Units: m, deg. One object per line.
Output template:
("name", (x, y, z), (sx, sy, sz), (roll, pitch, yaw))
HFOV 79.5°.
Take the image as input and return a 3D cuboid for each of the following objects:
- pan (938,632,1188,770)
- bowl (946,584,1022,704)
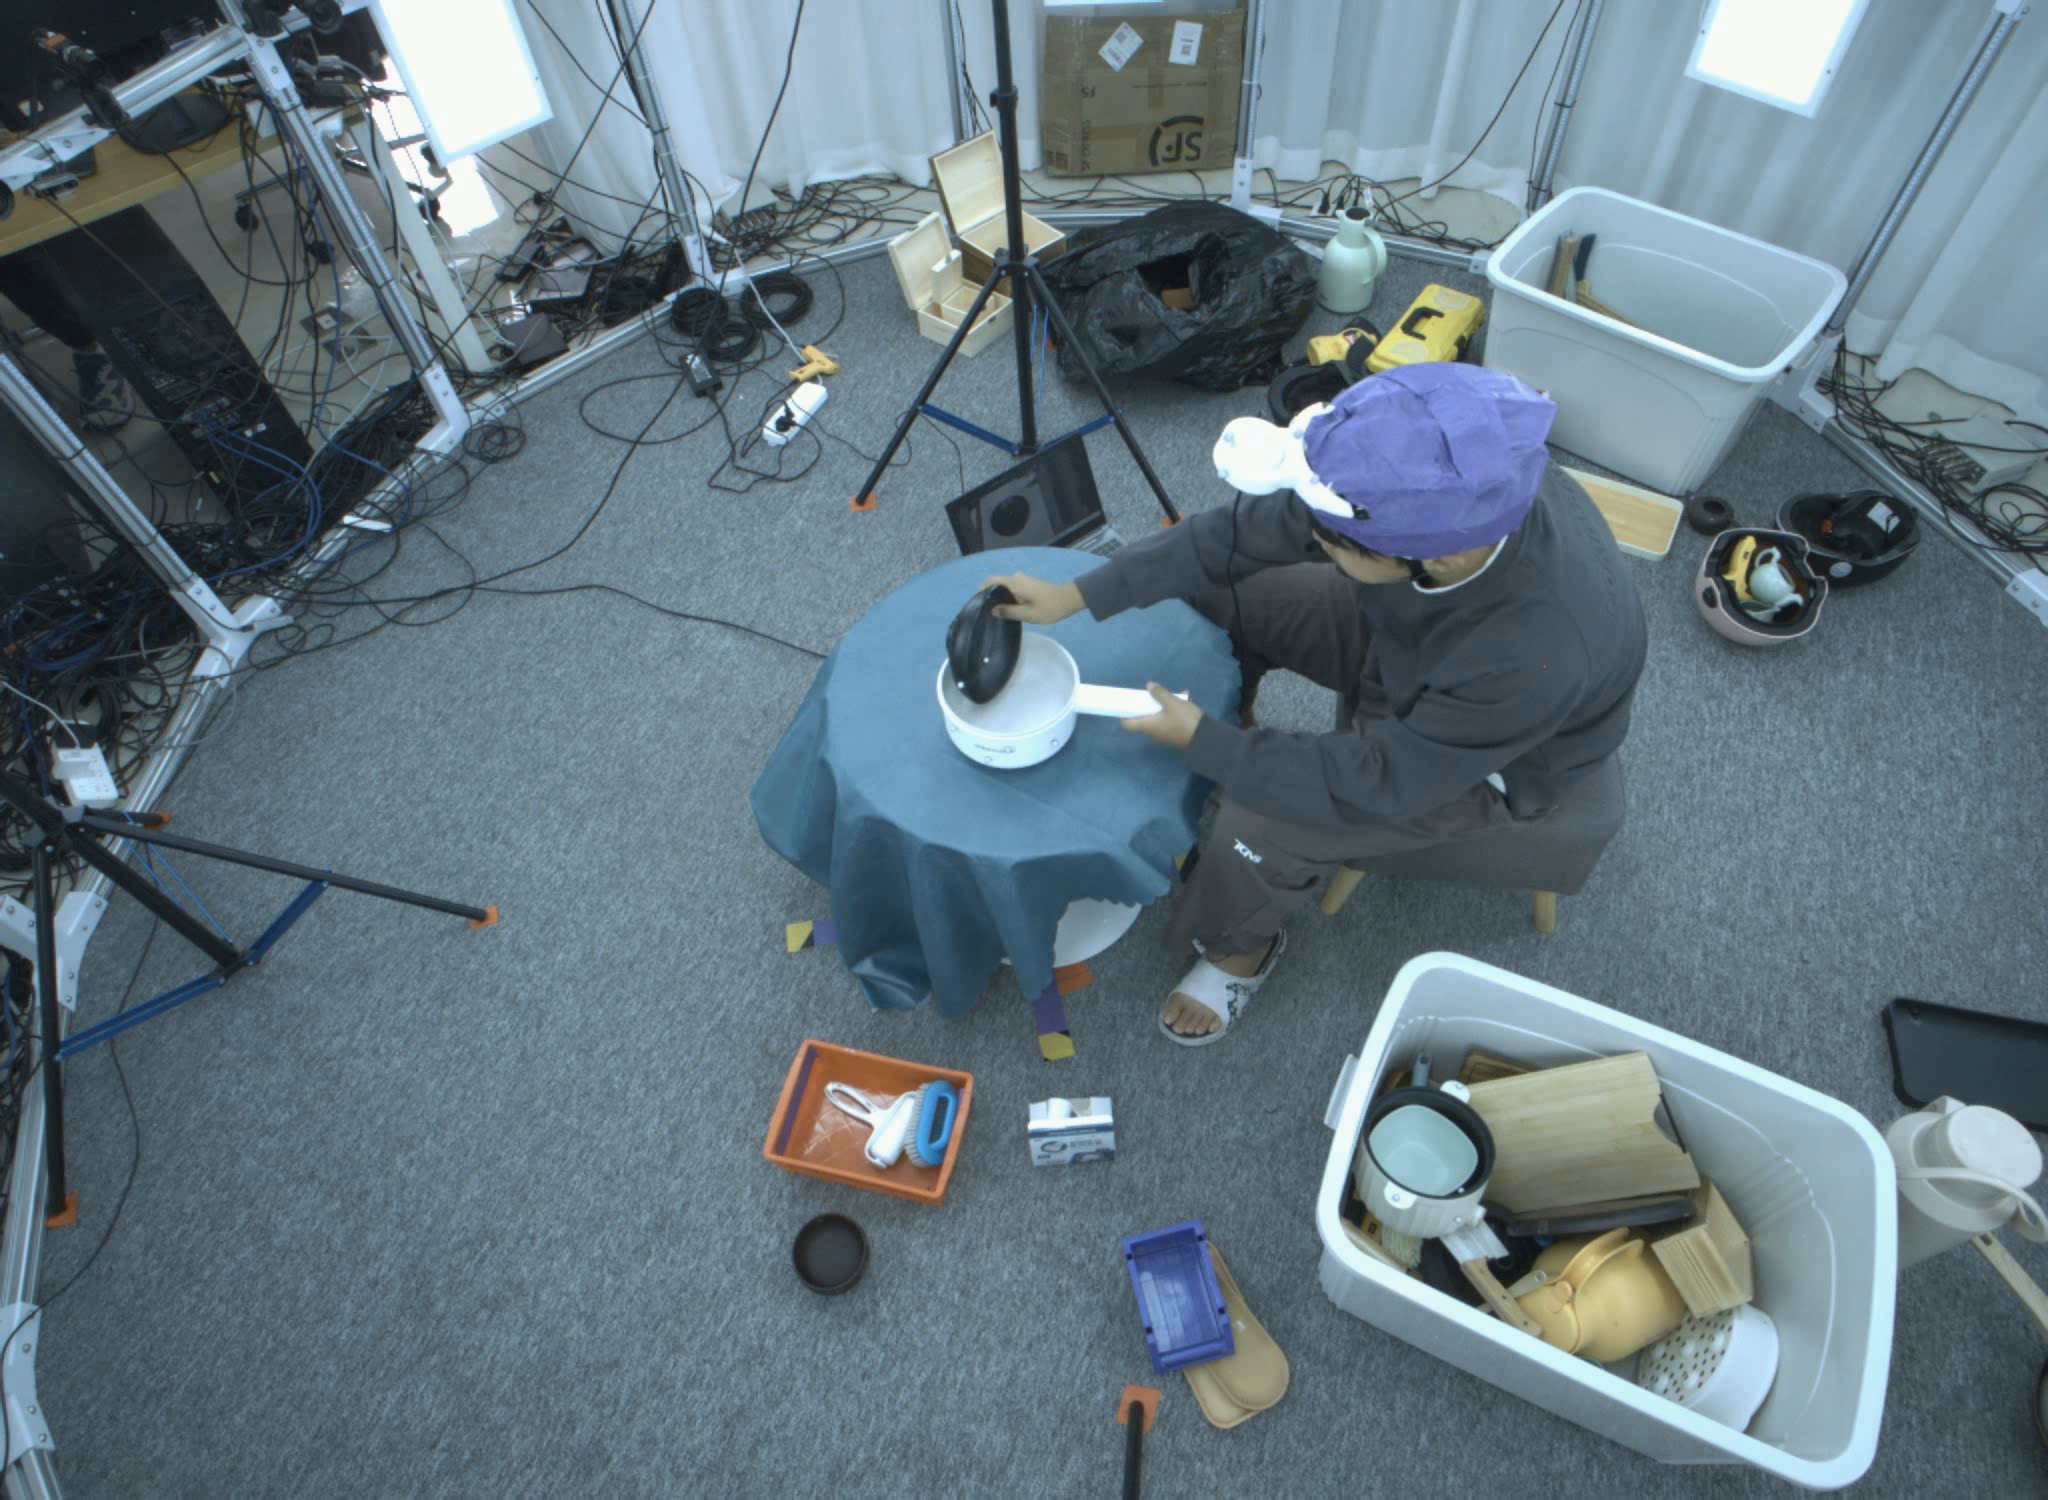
("pan", (0.054, -0.056, 1.772), (0.354, 0.103, 0.200), (8, 54, 4))
("bowl", (-0.067, -0.153, 1.723), (0.065, 0.140, 0.170), (18, 102, 27))
